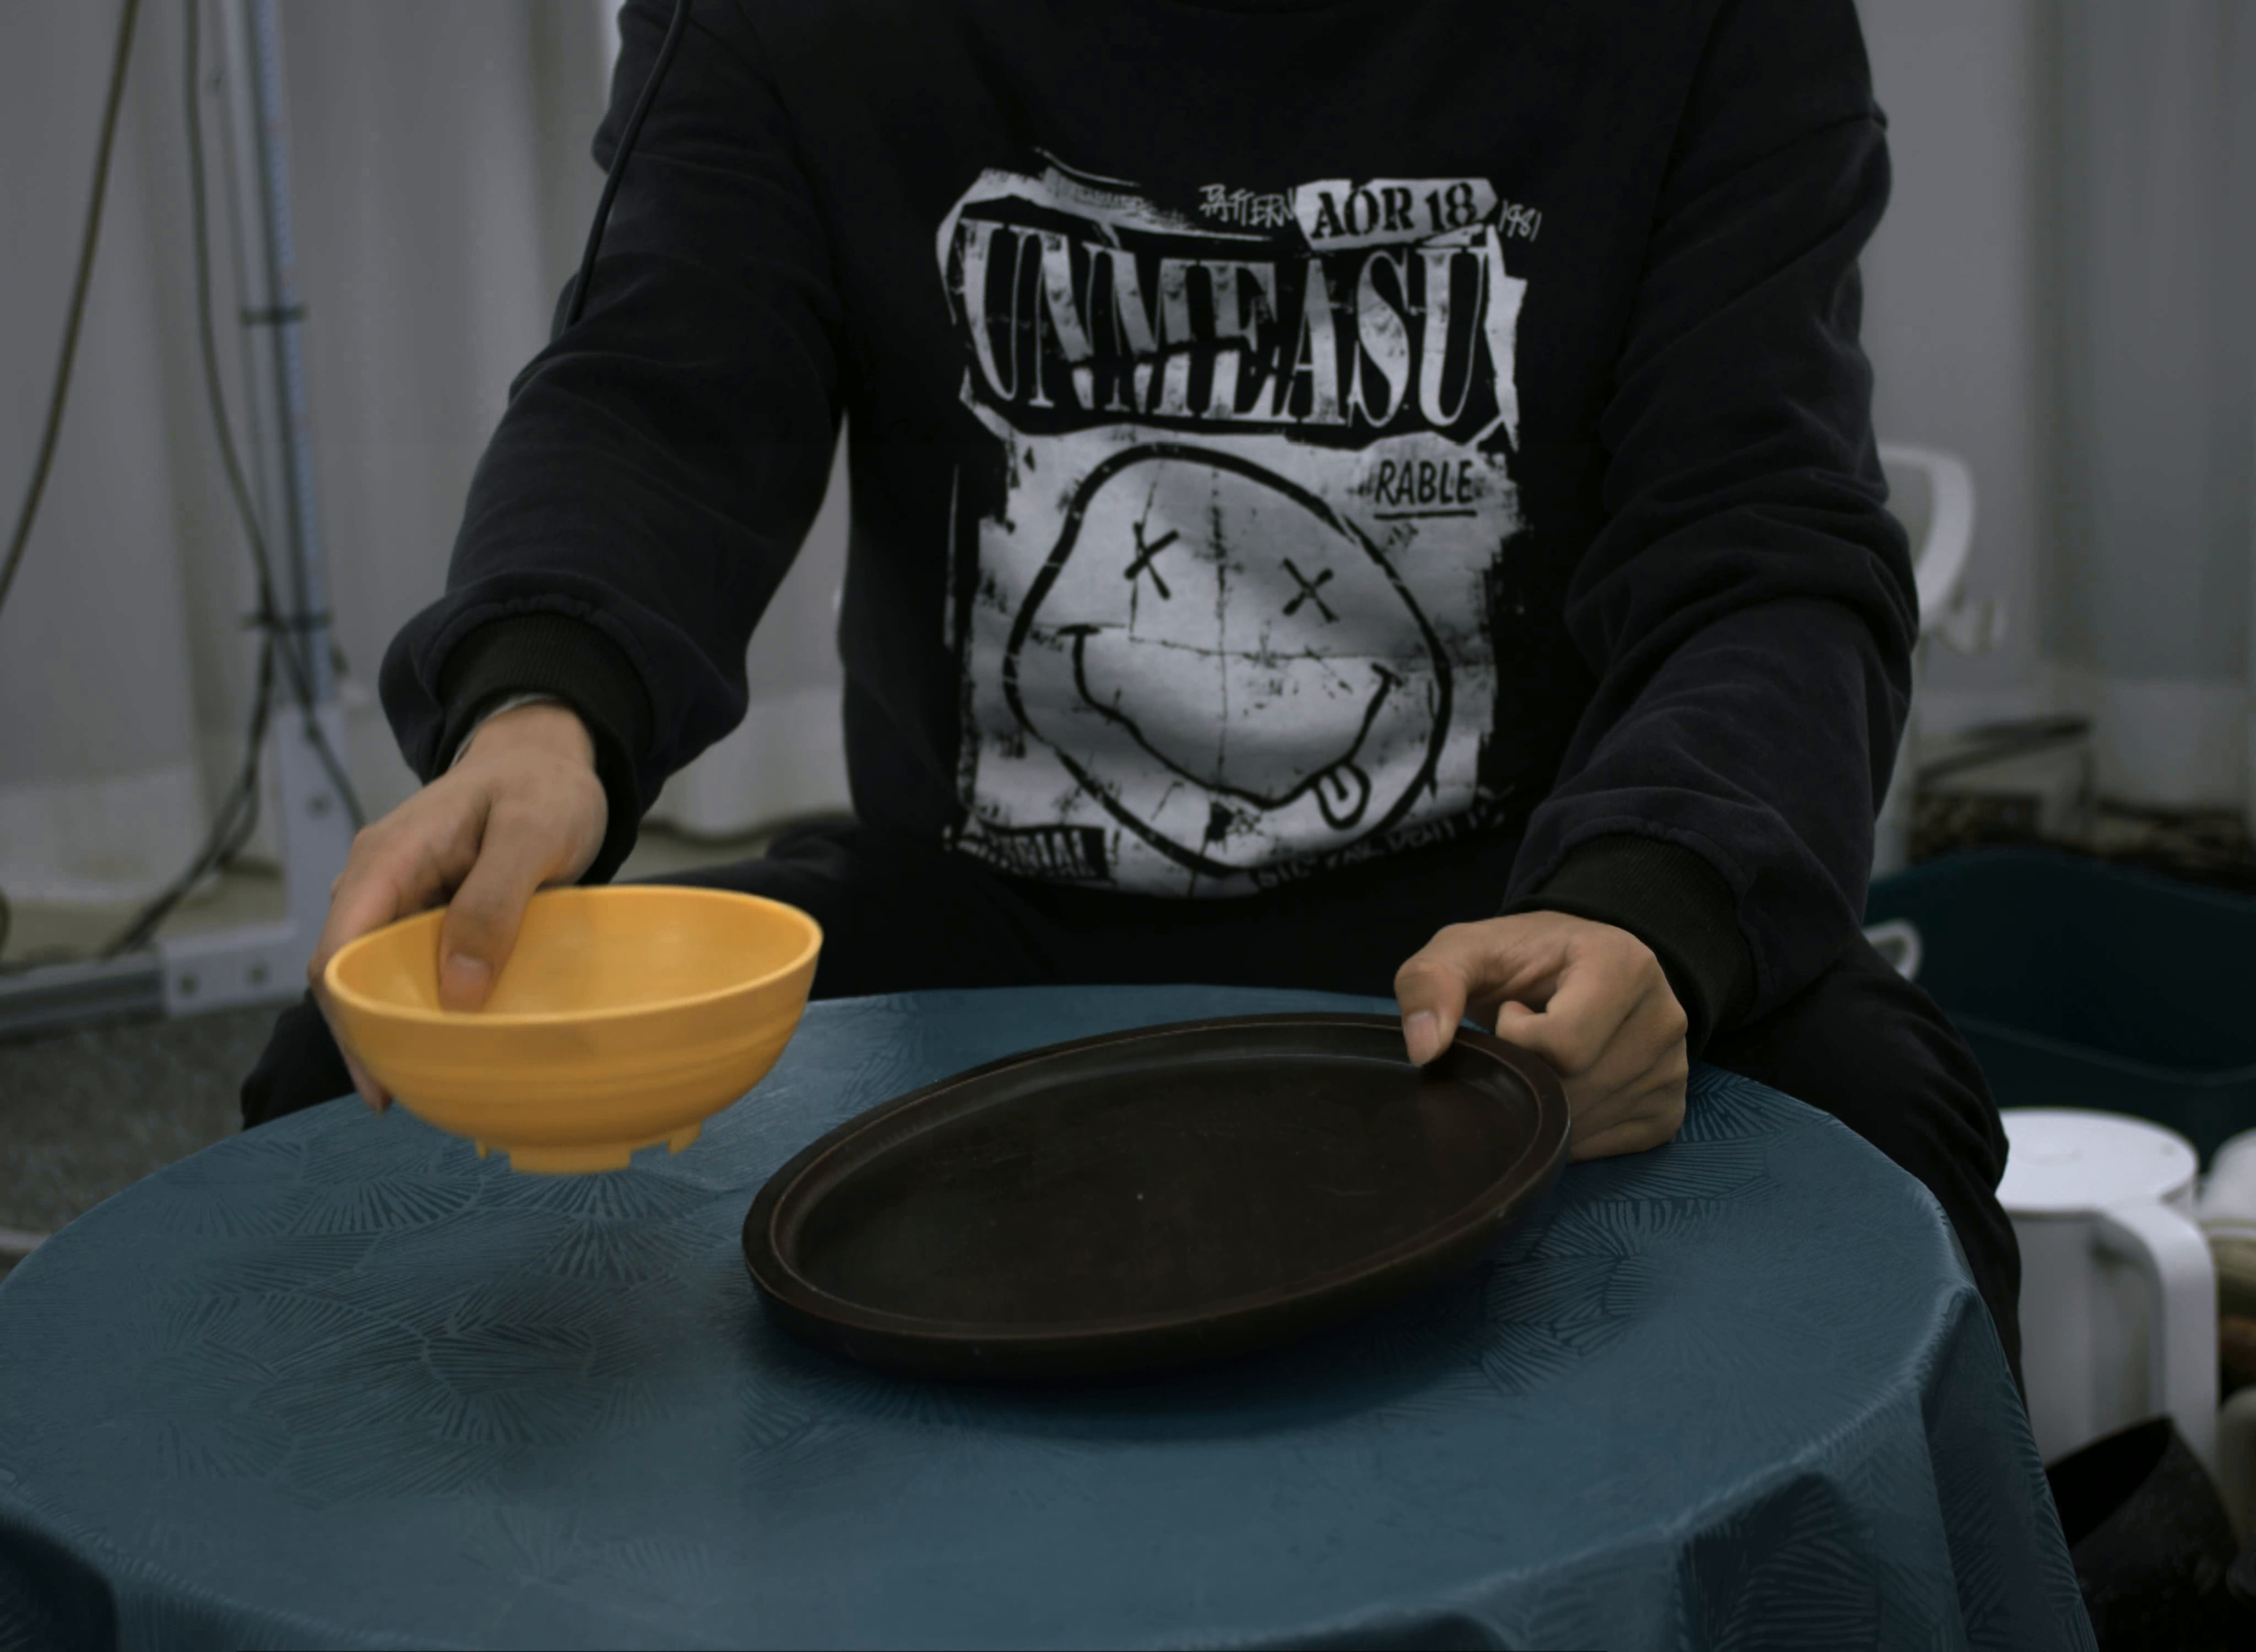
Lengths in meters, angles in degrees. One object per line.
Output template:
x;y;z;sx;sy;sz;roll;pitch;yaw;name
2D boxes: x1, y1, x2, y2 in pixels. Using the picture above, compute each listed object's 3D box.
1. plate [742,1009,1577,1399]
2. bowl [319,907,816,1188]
0.010;0.111;1.635;0.254;0.029;0.256;-11;16;3;plate
-0.162;0.068;1.598;0.145;0.060;0.146;-2;12;0;bowl
